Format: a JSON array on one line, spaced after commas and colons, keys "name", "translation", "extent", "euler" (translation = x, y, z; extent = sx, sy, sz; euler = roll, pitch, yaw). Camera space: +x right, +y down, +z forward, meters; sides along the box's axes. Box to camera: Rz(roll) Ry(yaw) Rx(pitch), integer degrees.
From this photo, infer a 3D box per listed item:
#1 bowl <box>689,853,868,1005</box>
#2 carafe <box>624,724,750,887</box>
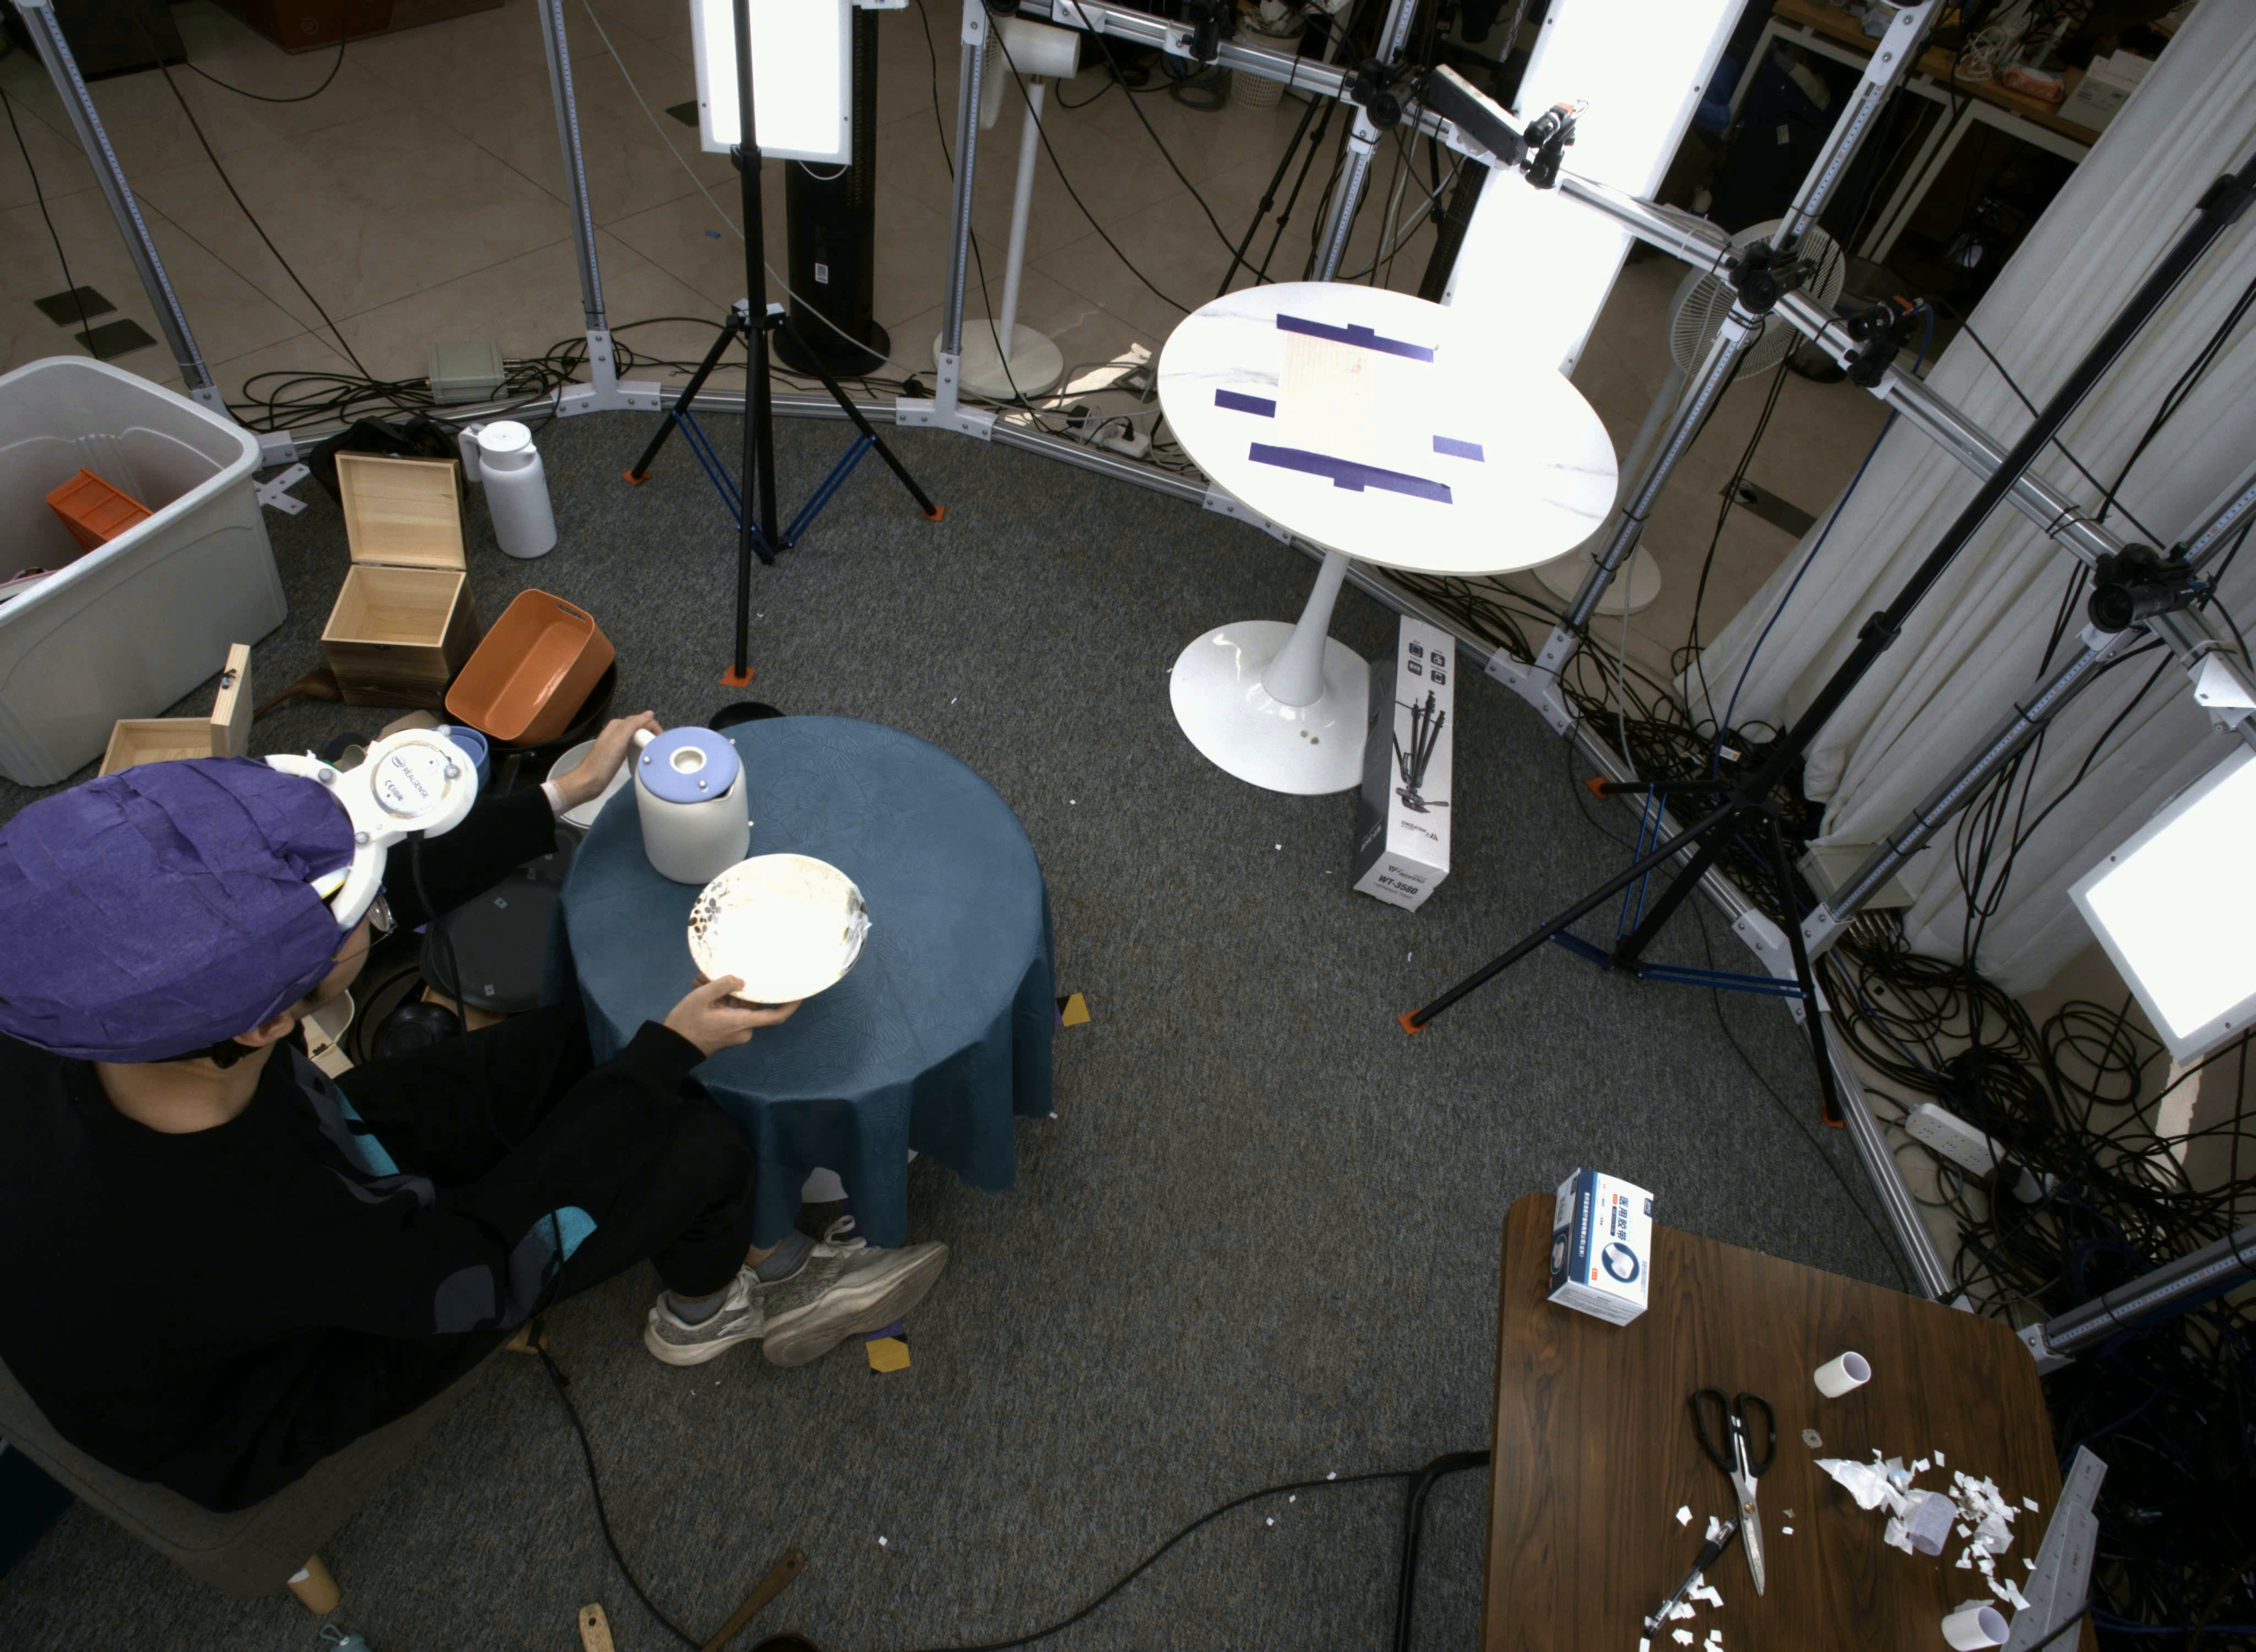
[{"name": "bowl", "translation": [-0.403, 0.134, 1.515], "extent": [0.202, 0.080, 0.200], "euler": [4, 55, -5]}, {"name": "carafe", "translation": [-0.563, -0.039, 1.612], "extent": [0.187, 0.187, 0.132], "euler": [33, 52, 15]}]
